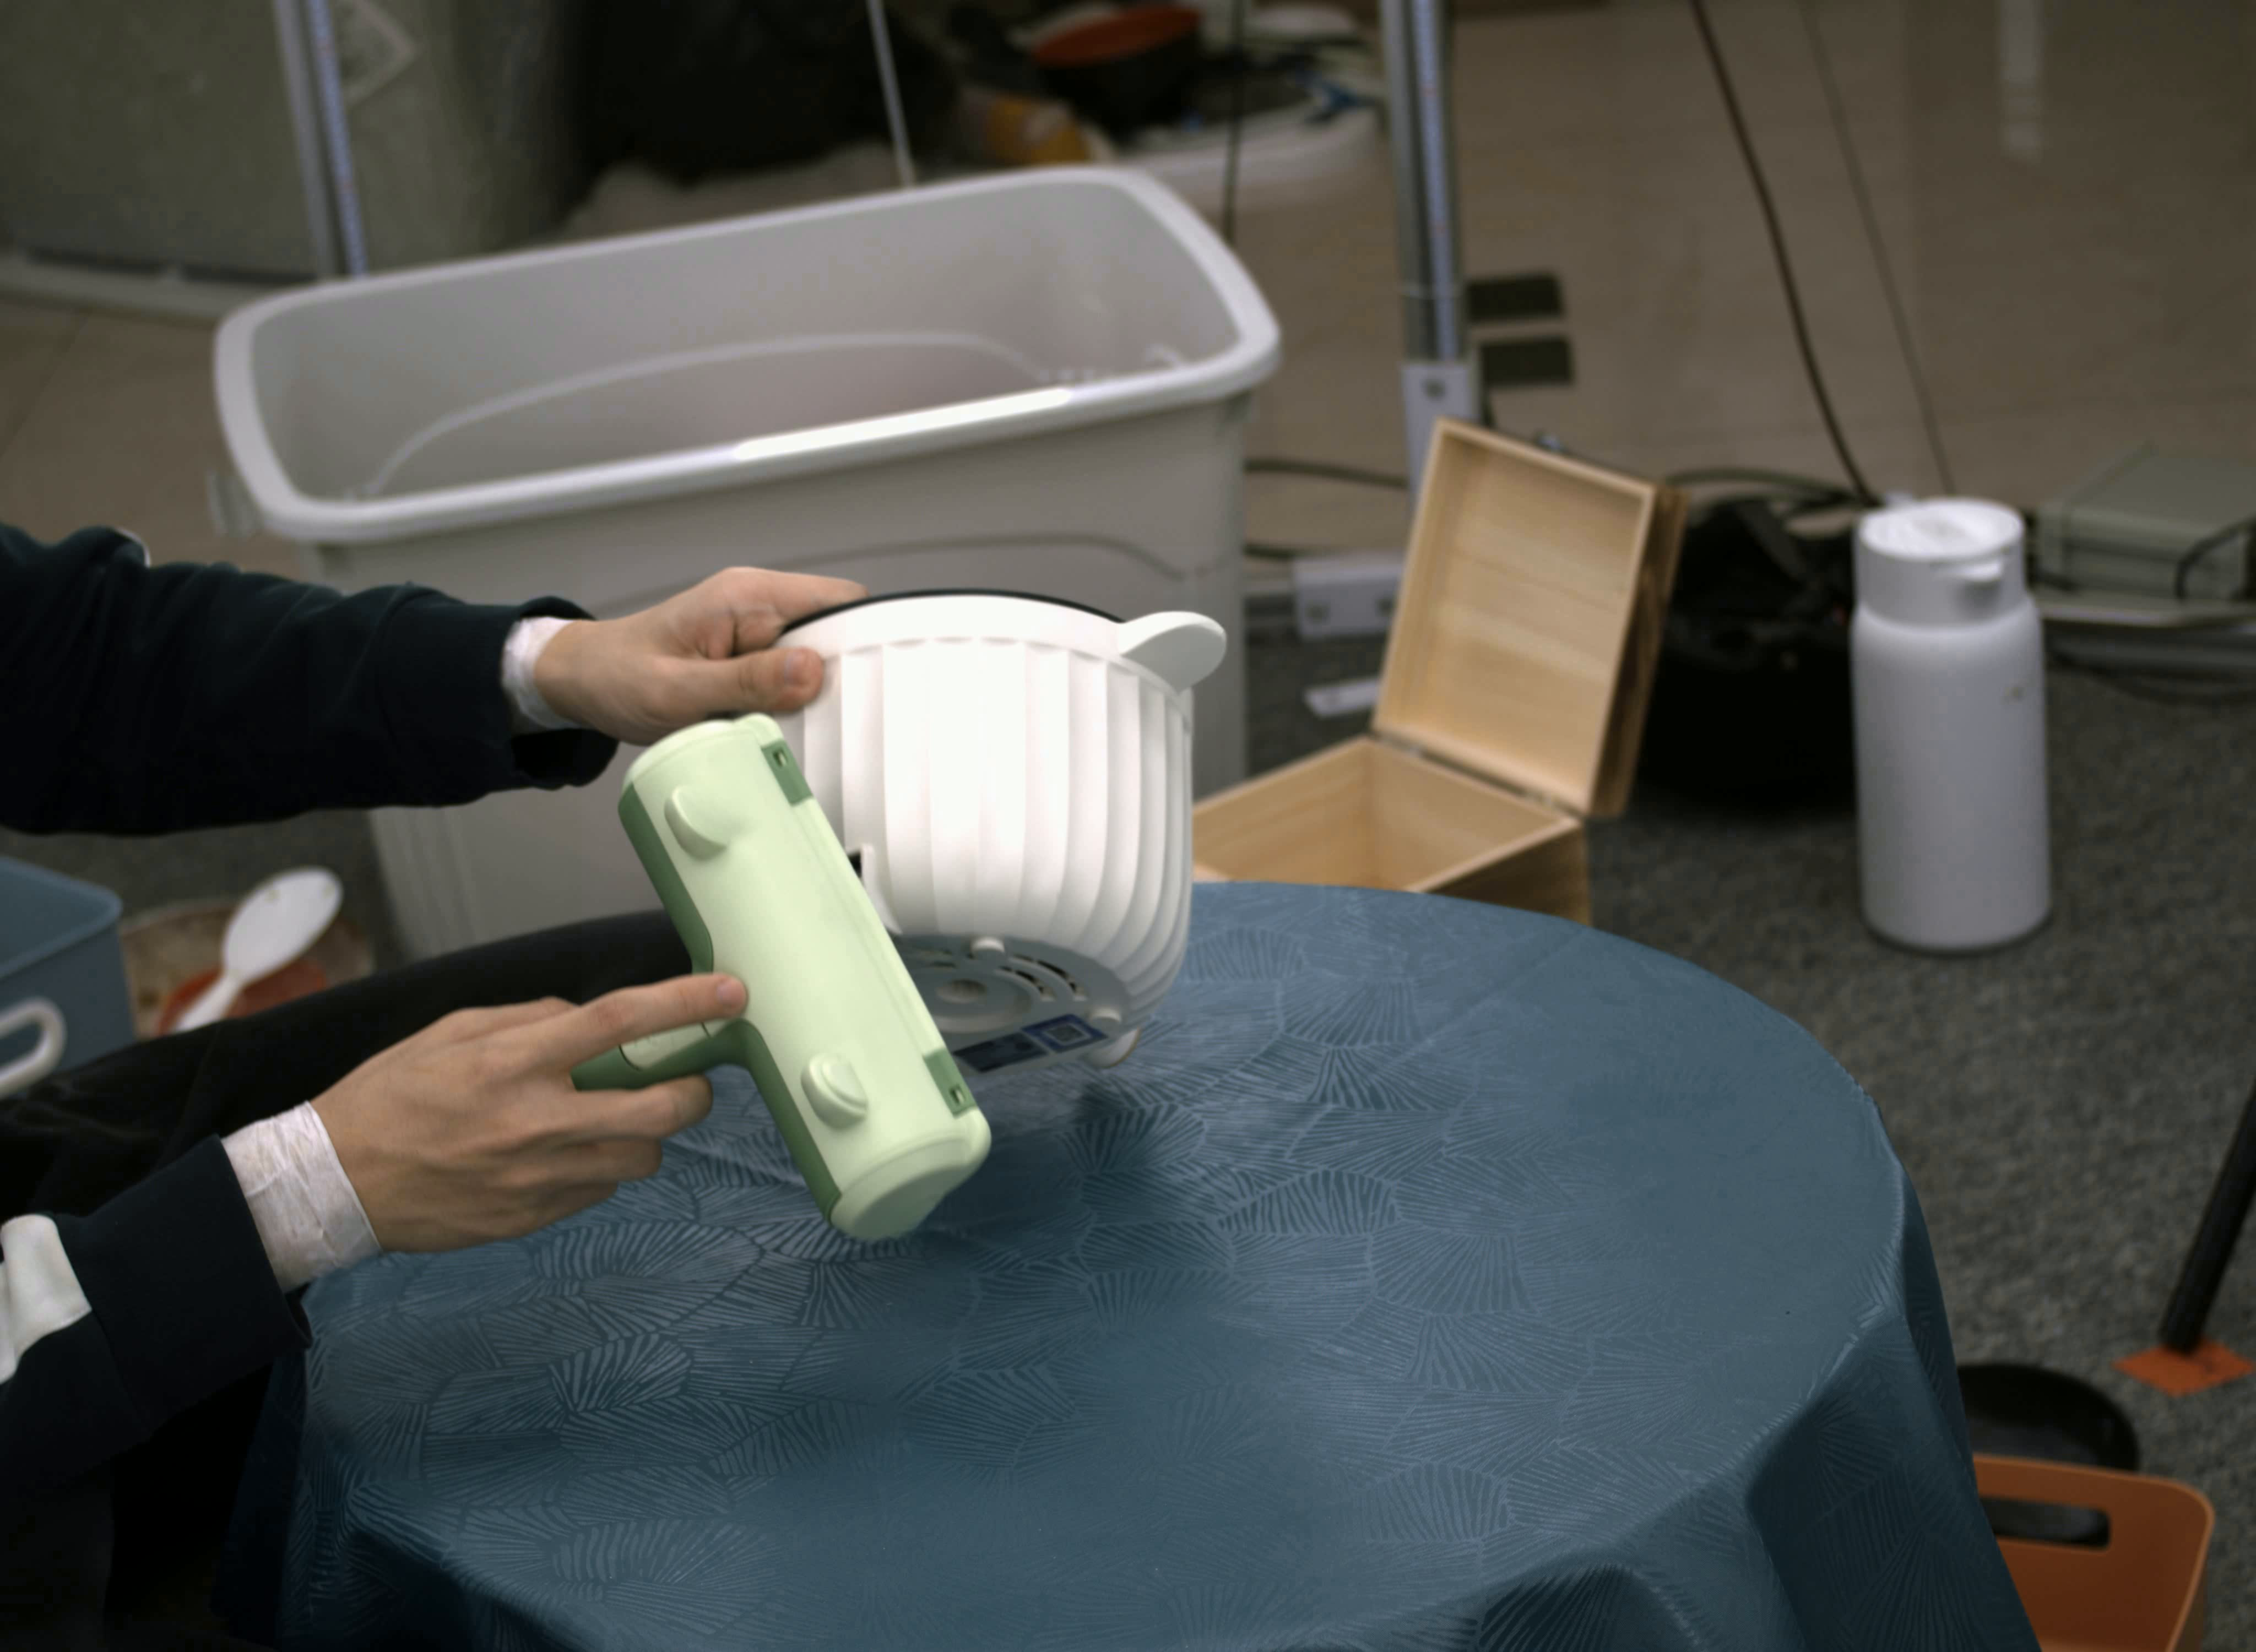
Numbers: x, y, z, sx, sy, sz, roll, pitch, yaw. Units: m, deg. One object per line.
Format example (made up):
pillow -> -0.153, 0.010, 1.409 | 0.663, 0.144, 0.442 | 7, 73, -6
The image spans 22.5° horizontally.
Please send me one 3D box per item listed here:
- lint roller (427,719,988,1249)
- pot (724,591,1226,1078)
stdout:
lint roller -> -0.171, 0.077, 2.021 | 0.183, 0.083, 0.196 | -26, 71, -7
pot -> -0.062, 0.013, 2.177 | 0.241, 0.141, 0.192 | -16, -25, 31
